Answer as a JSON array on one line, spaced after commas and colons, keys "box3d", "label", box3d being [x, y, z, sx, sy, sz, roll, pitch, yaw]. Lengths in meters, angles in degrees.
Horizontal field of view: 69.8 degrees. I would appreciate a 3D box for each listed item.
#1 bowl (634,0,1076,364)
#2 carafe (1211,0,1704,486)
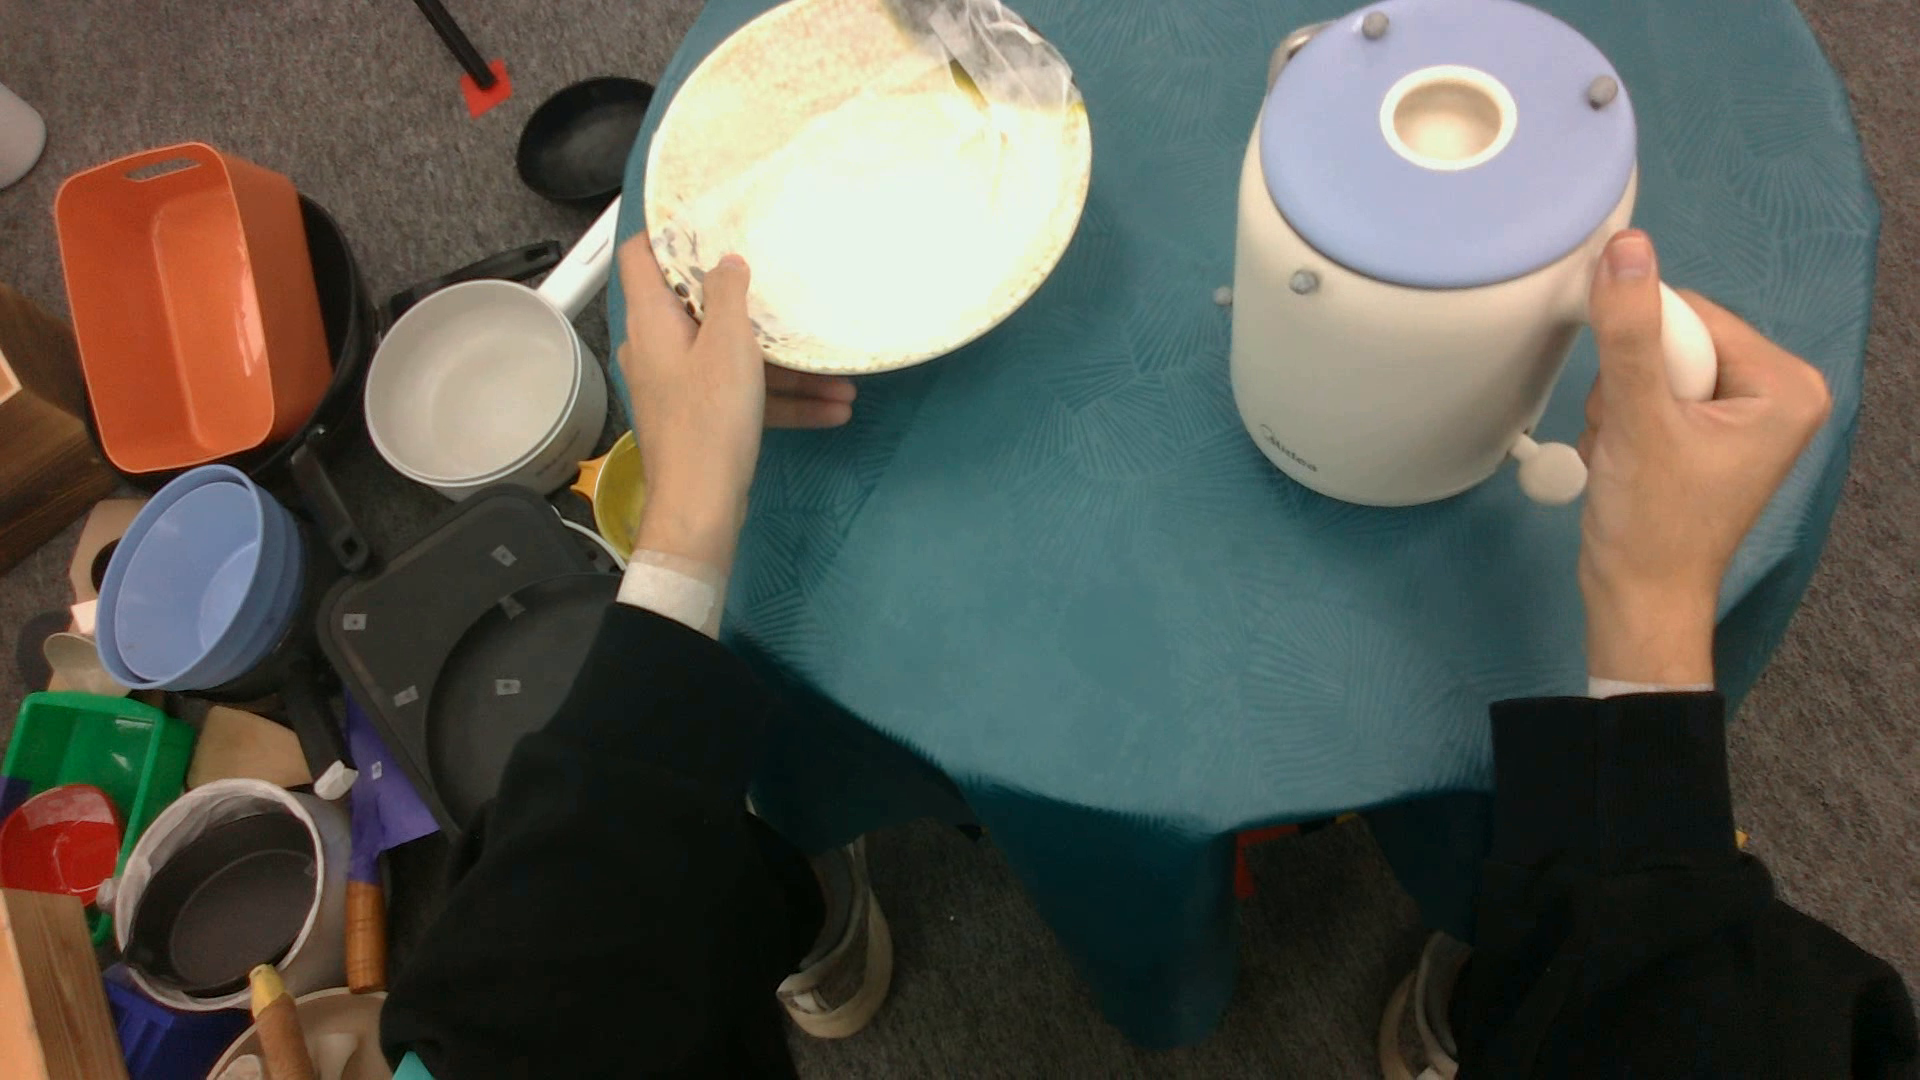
[{"box3d": [-0.044, -0.163, 0.651, 0.204, 0.078, 0.204, -2, 73, 8], "label": "bowl"}, {"box3d": [0.183, -0.095, 0.522, 0.191, 0.182, 0.132, 40, 80, 18], "label": "carafe"}]
